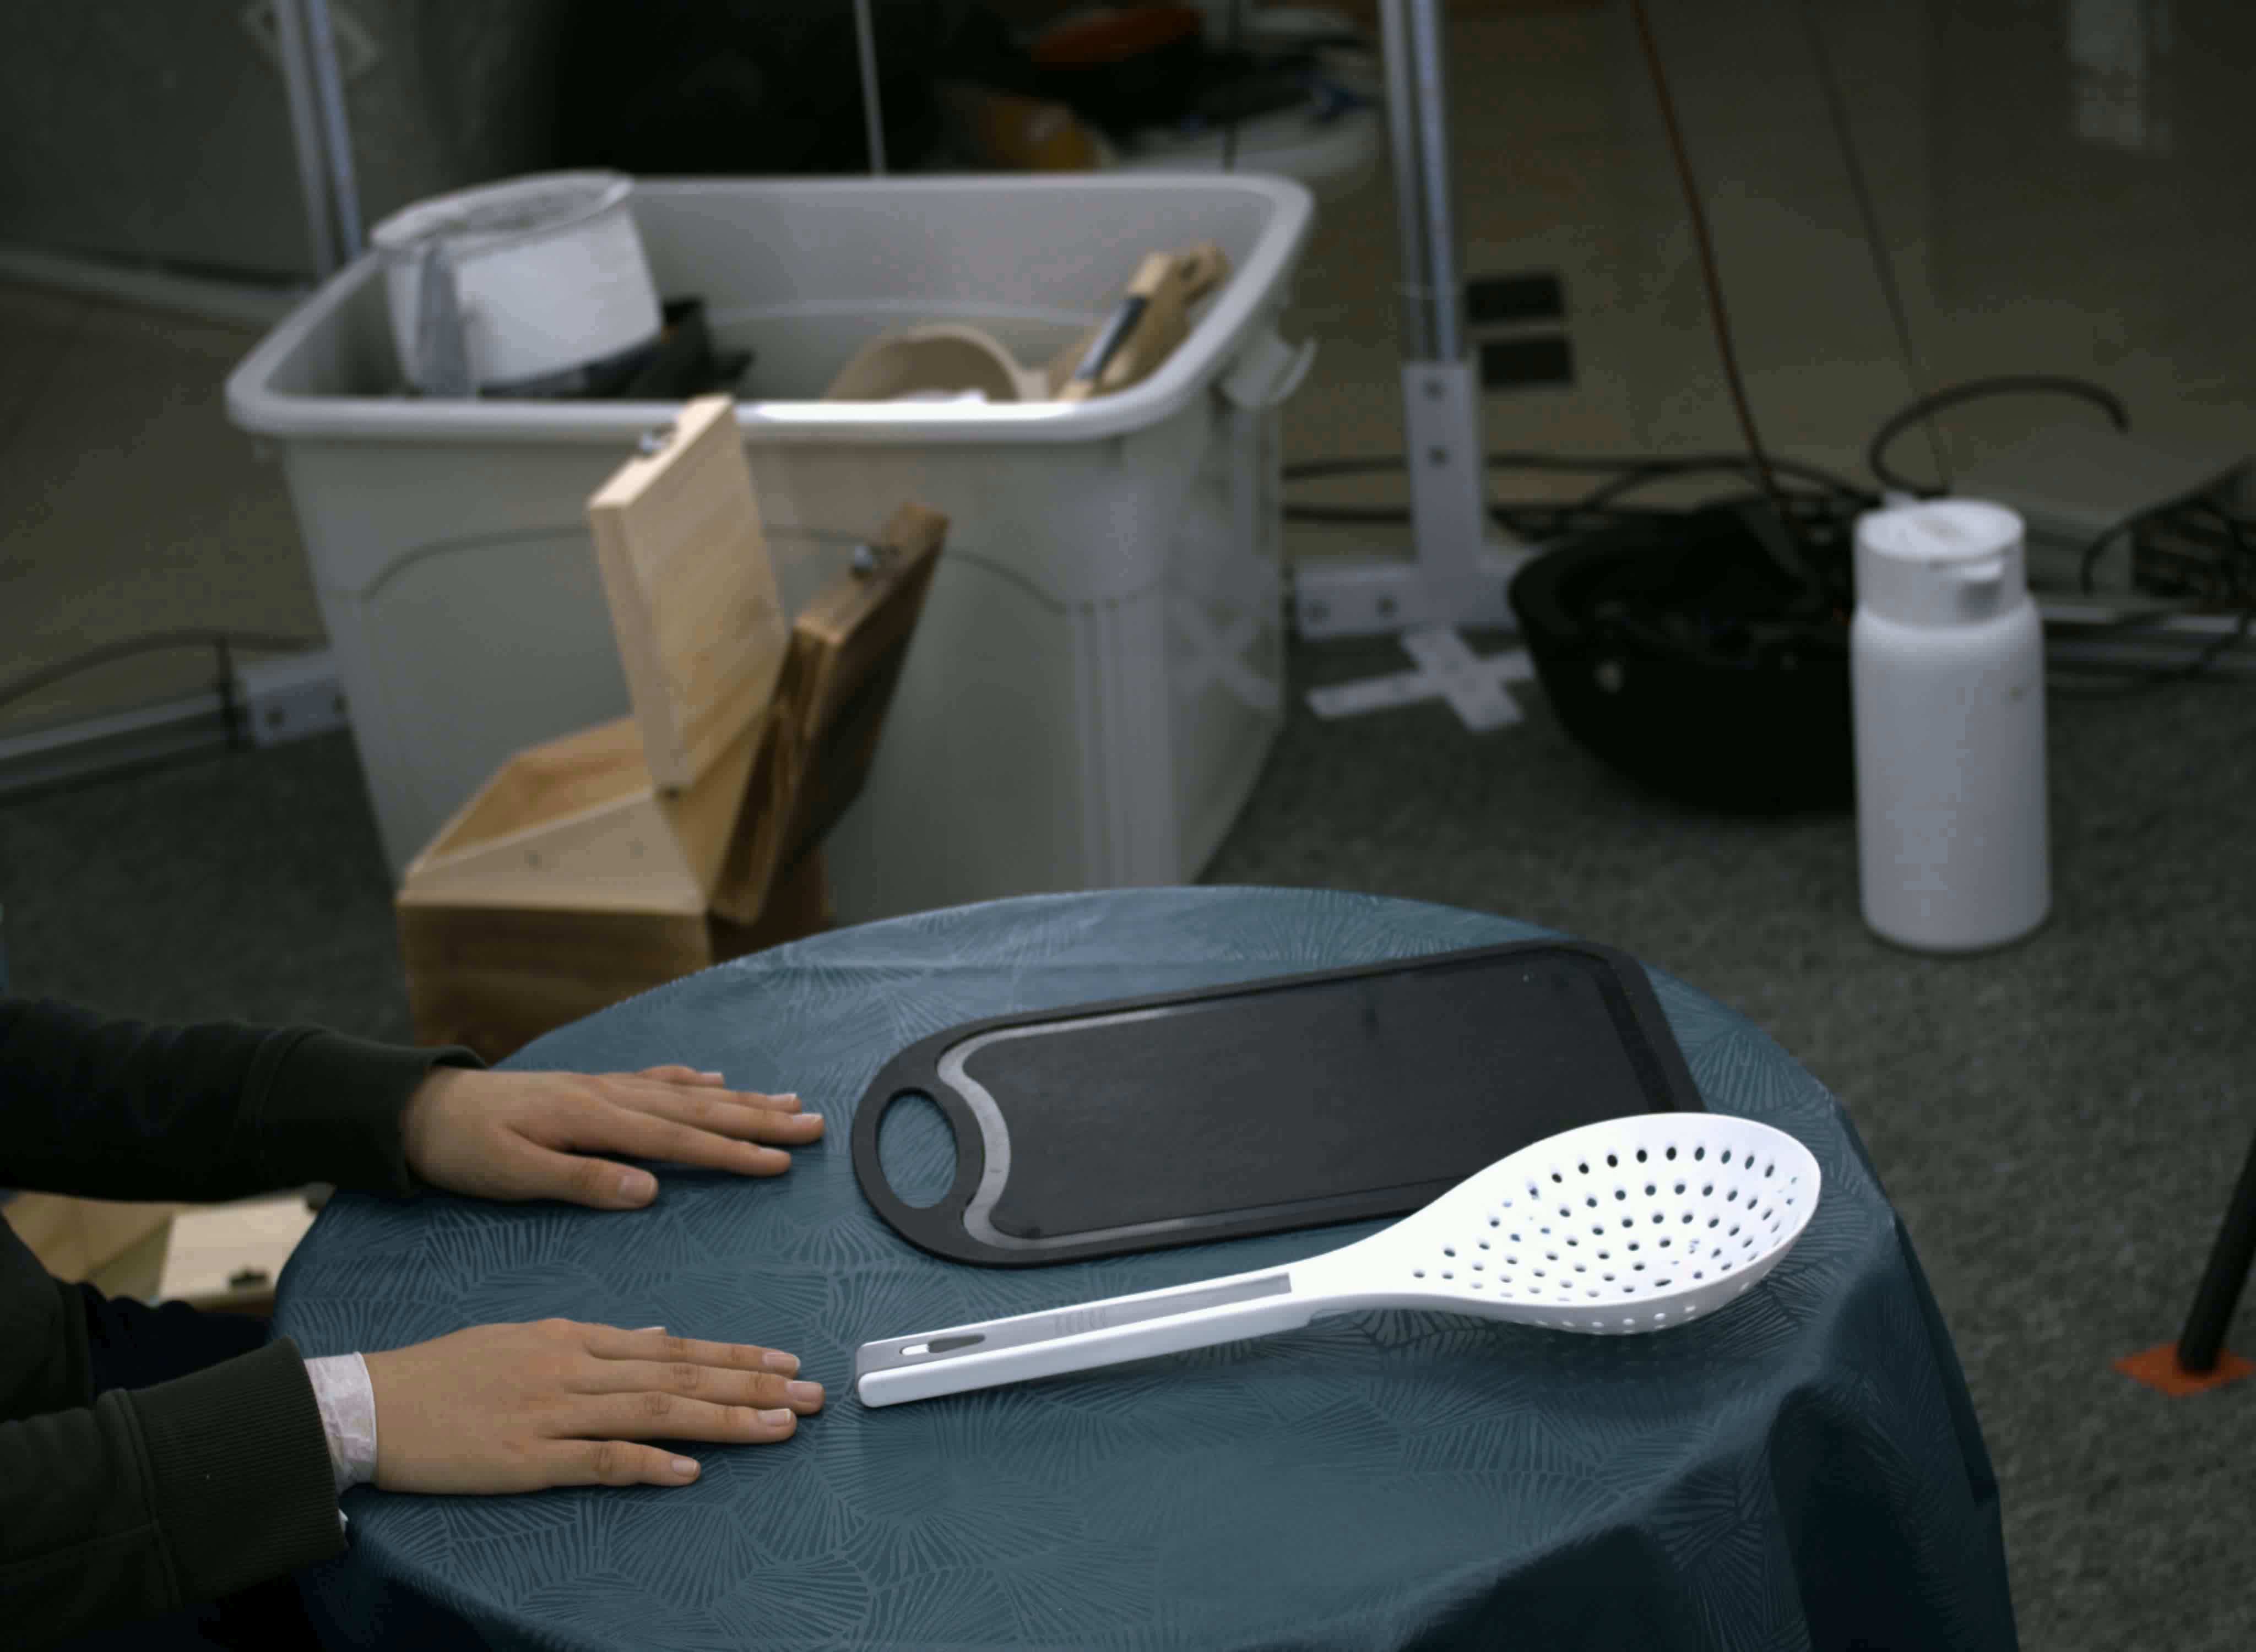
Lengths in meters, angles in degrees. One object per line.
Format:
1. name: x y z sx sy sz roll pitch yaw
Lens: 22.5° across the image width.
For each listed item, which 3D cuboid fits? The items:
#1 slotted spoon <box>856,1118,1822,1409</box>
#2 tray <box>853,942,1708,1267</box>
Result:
1. slotted spoon: 0.075 0.164 2.026 0.349 0.046 0.134 -7 23 0
2. tray: 0.054 0.106 2.203 0.325 0.010 0.208 -8 25 -2
